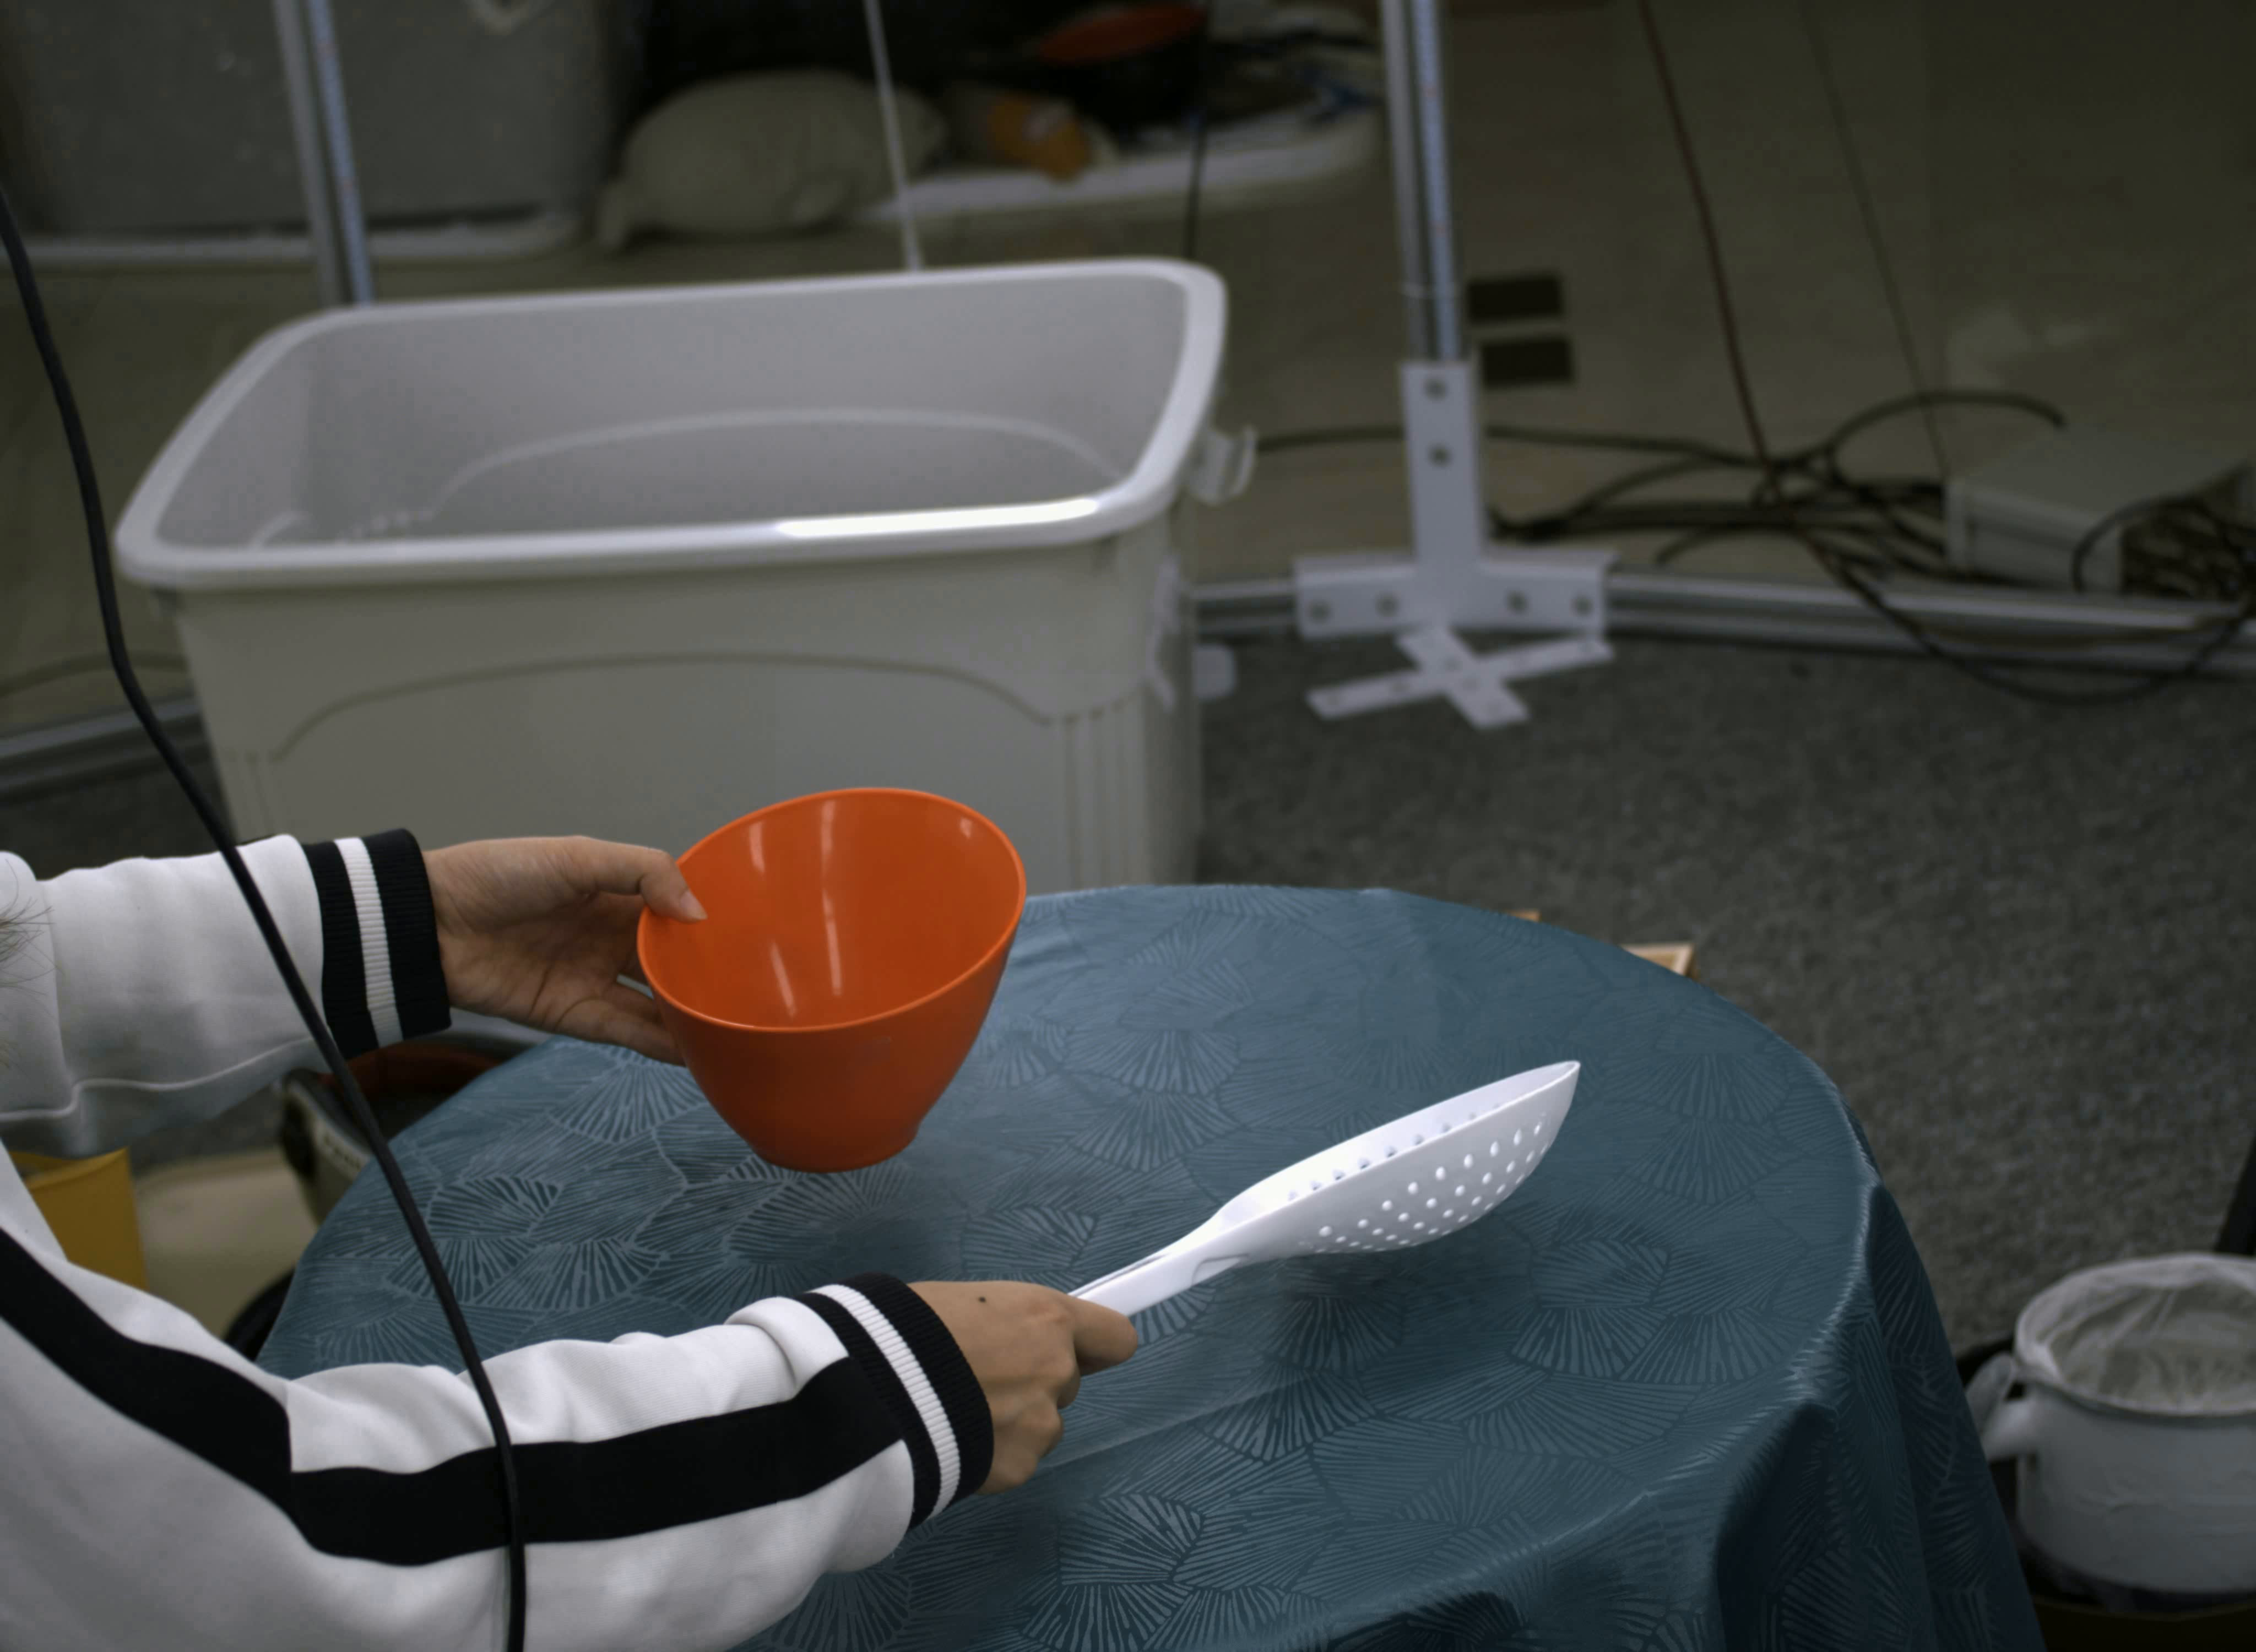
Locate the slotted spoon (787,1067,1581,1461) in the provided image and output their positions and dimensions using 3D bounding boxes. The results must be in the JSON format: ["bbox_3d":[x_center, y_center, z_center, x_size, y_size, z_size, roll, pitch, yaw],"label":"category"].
[{"bbox_3d":[0.023,0.152,1.989,0.348,0.046,0.137,-16,-3,-37],"label":"slotted spoon"}]

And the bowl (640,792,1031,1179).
[{"bbox_3d":[-0.108,0.068,2.144,0.148,0.106,0.145,-2,31,1],"label":"bowl"}]
